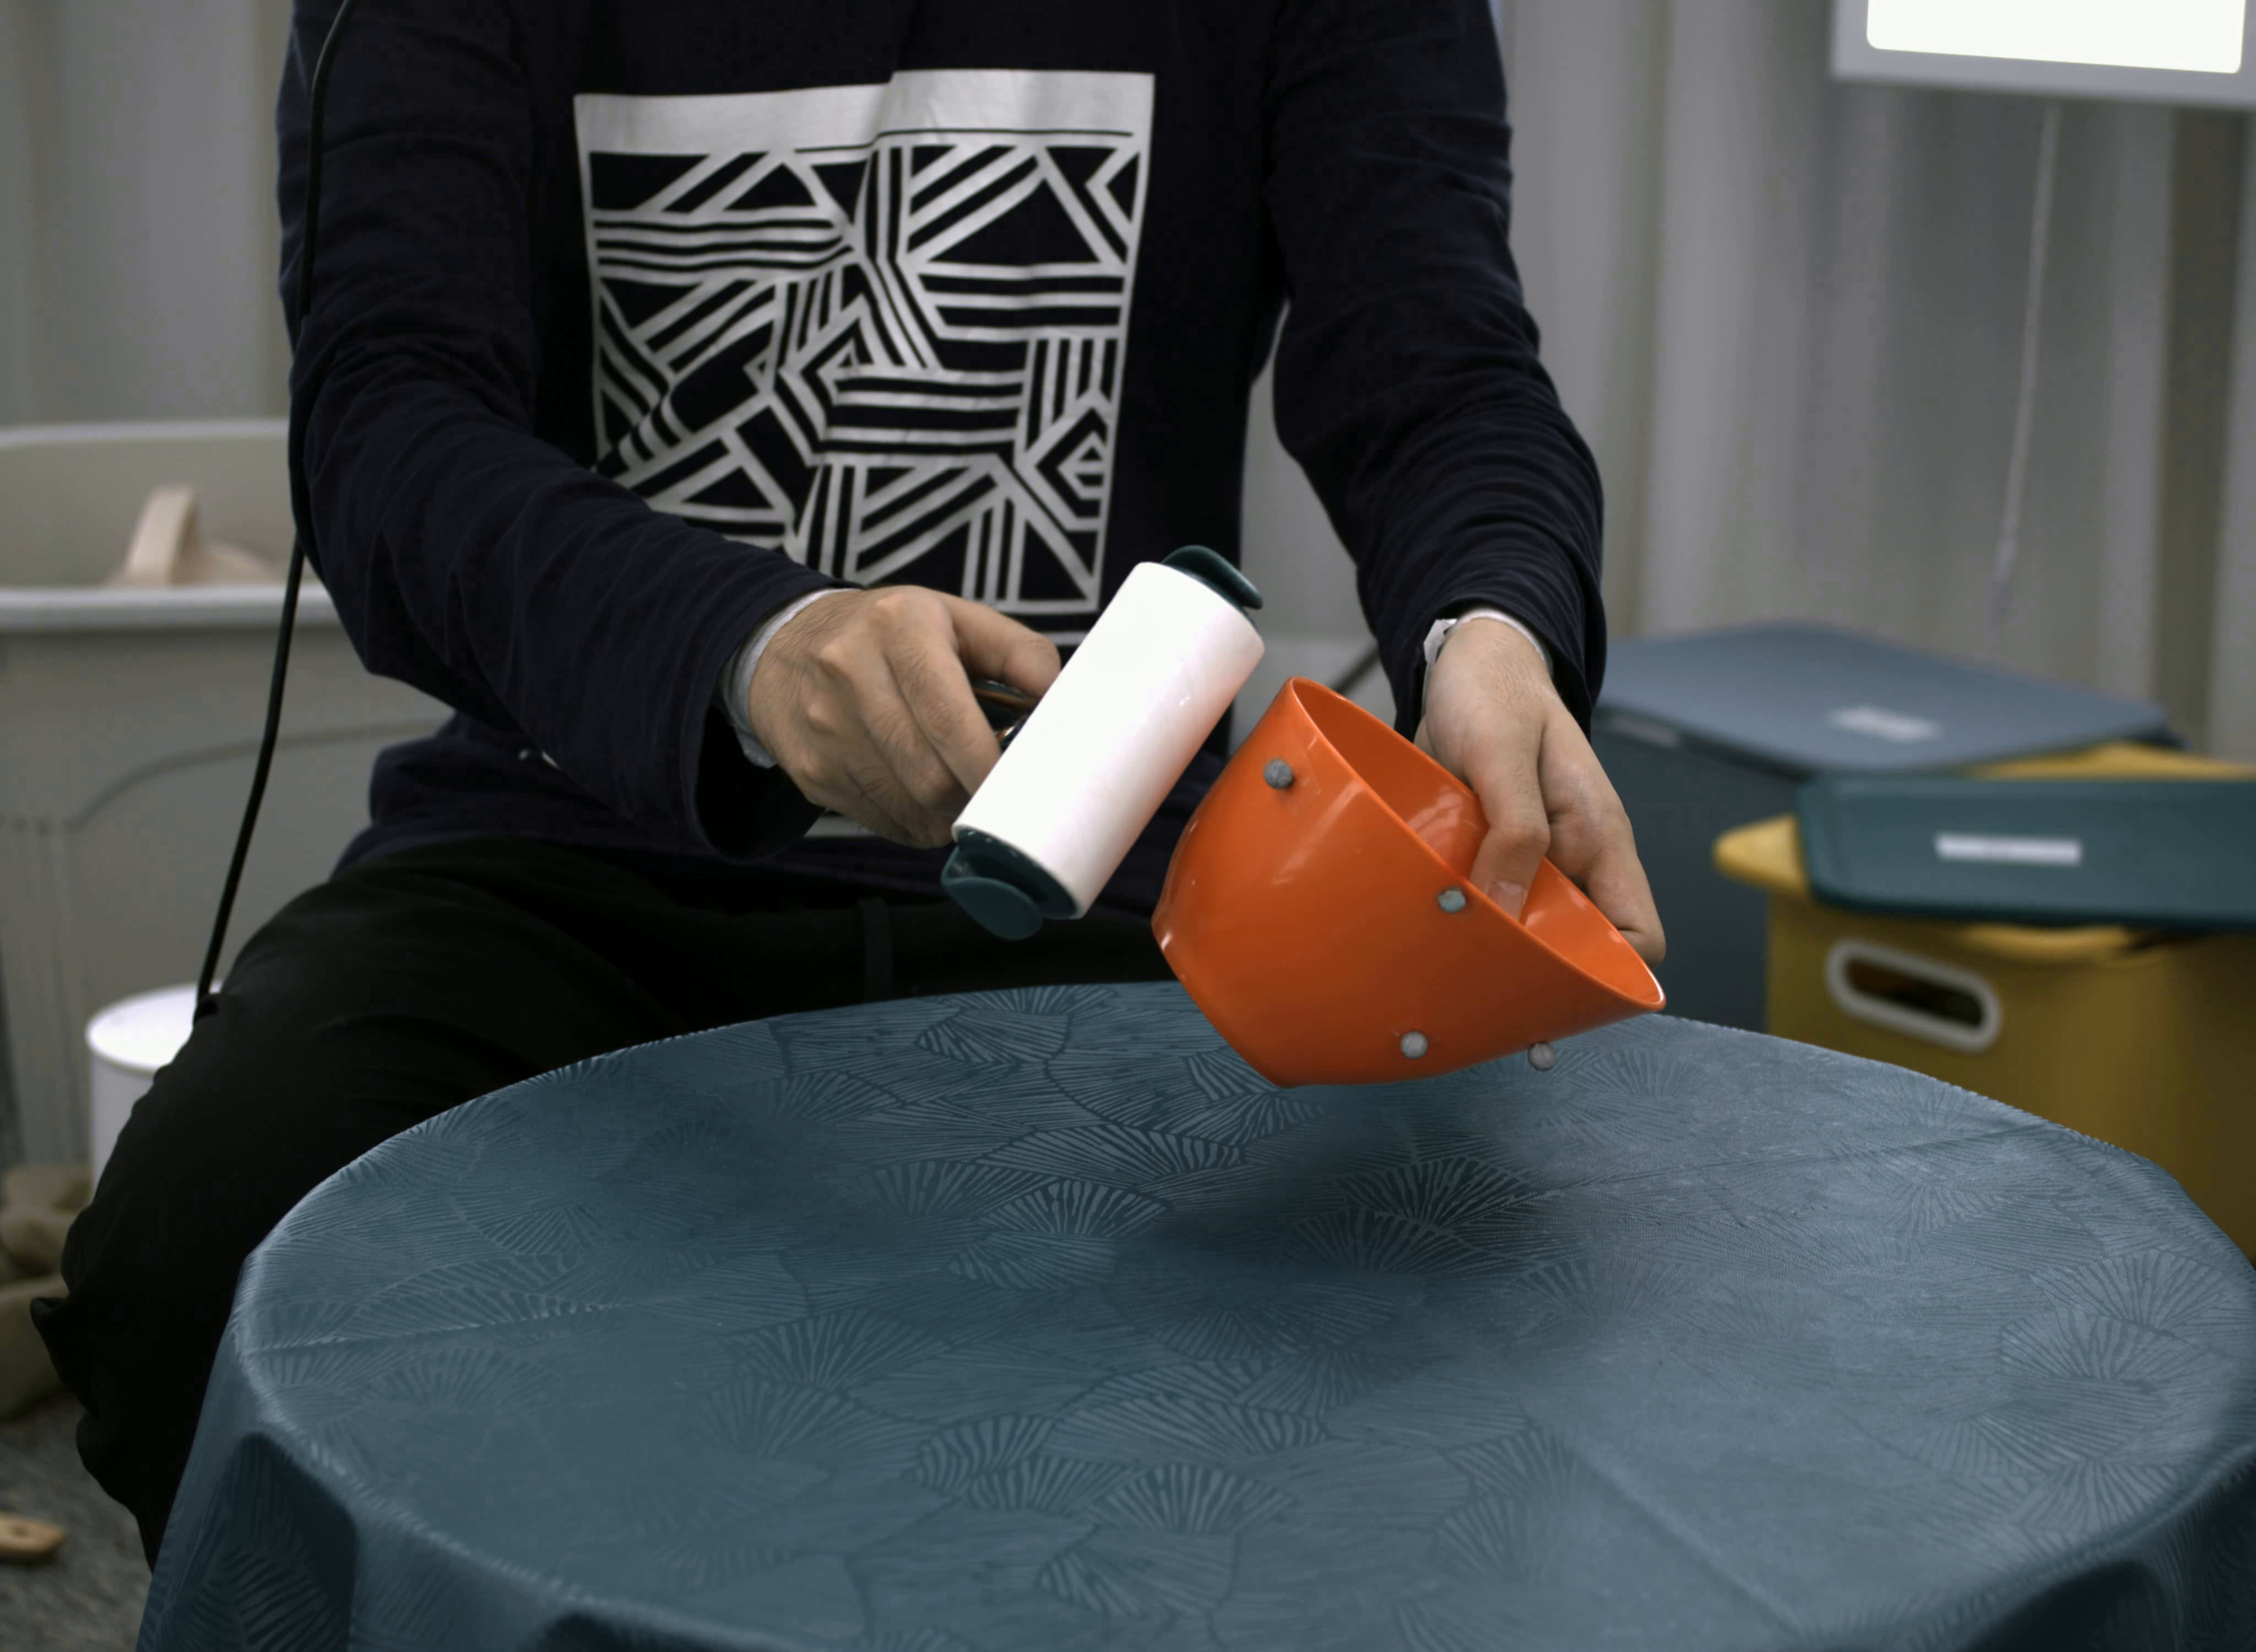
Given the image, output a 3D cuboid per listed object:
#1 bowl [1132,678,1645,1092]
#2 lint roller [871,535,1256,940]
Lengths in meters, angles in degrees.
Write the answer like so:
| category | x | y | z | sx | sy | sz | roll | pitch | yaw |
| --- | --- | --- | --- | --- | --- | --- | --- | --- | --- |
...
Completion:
| category | x | y | z | sx | sy | sz | roll | pitch | yaw |
| --- | --- | --- | --- | --- | --- | --- | --- | --- | --- |
| bowl | 0.069 | 0.032 | 1.580 | 0.104 | 0.149 | 0.147 | -39 | 14 | 8 |
| lint roller | -0.043 | -0.030 | 1.613 | 0.134 | 0.049 | 0.178 | -55 | 29 | -17 |
